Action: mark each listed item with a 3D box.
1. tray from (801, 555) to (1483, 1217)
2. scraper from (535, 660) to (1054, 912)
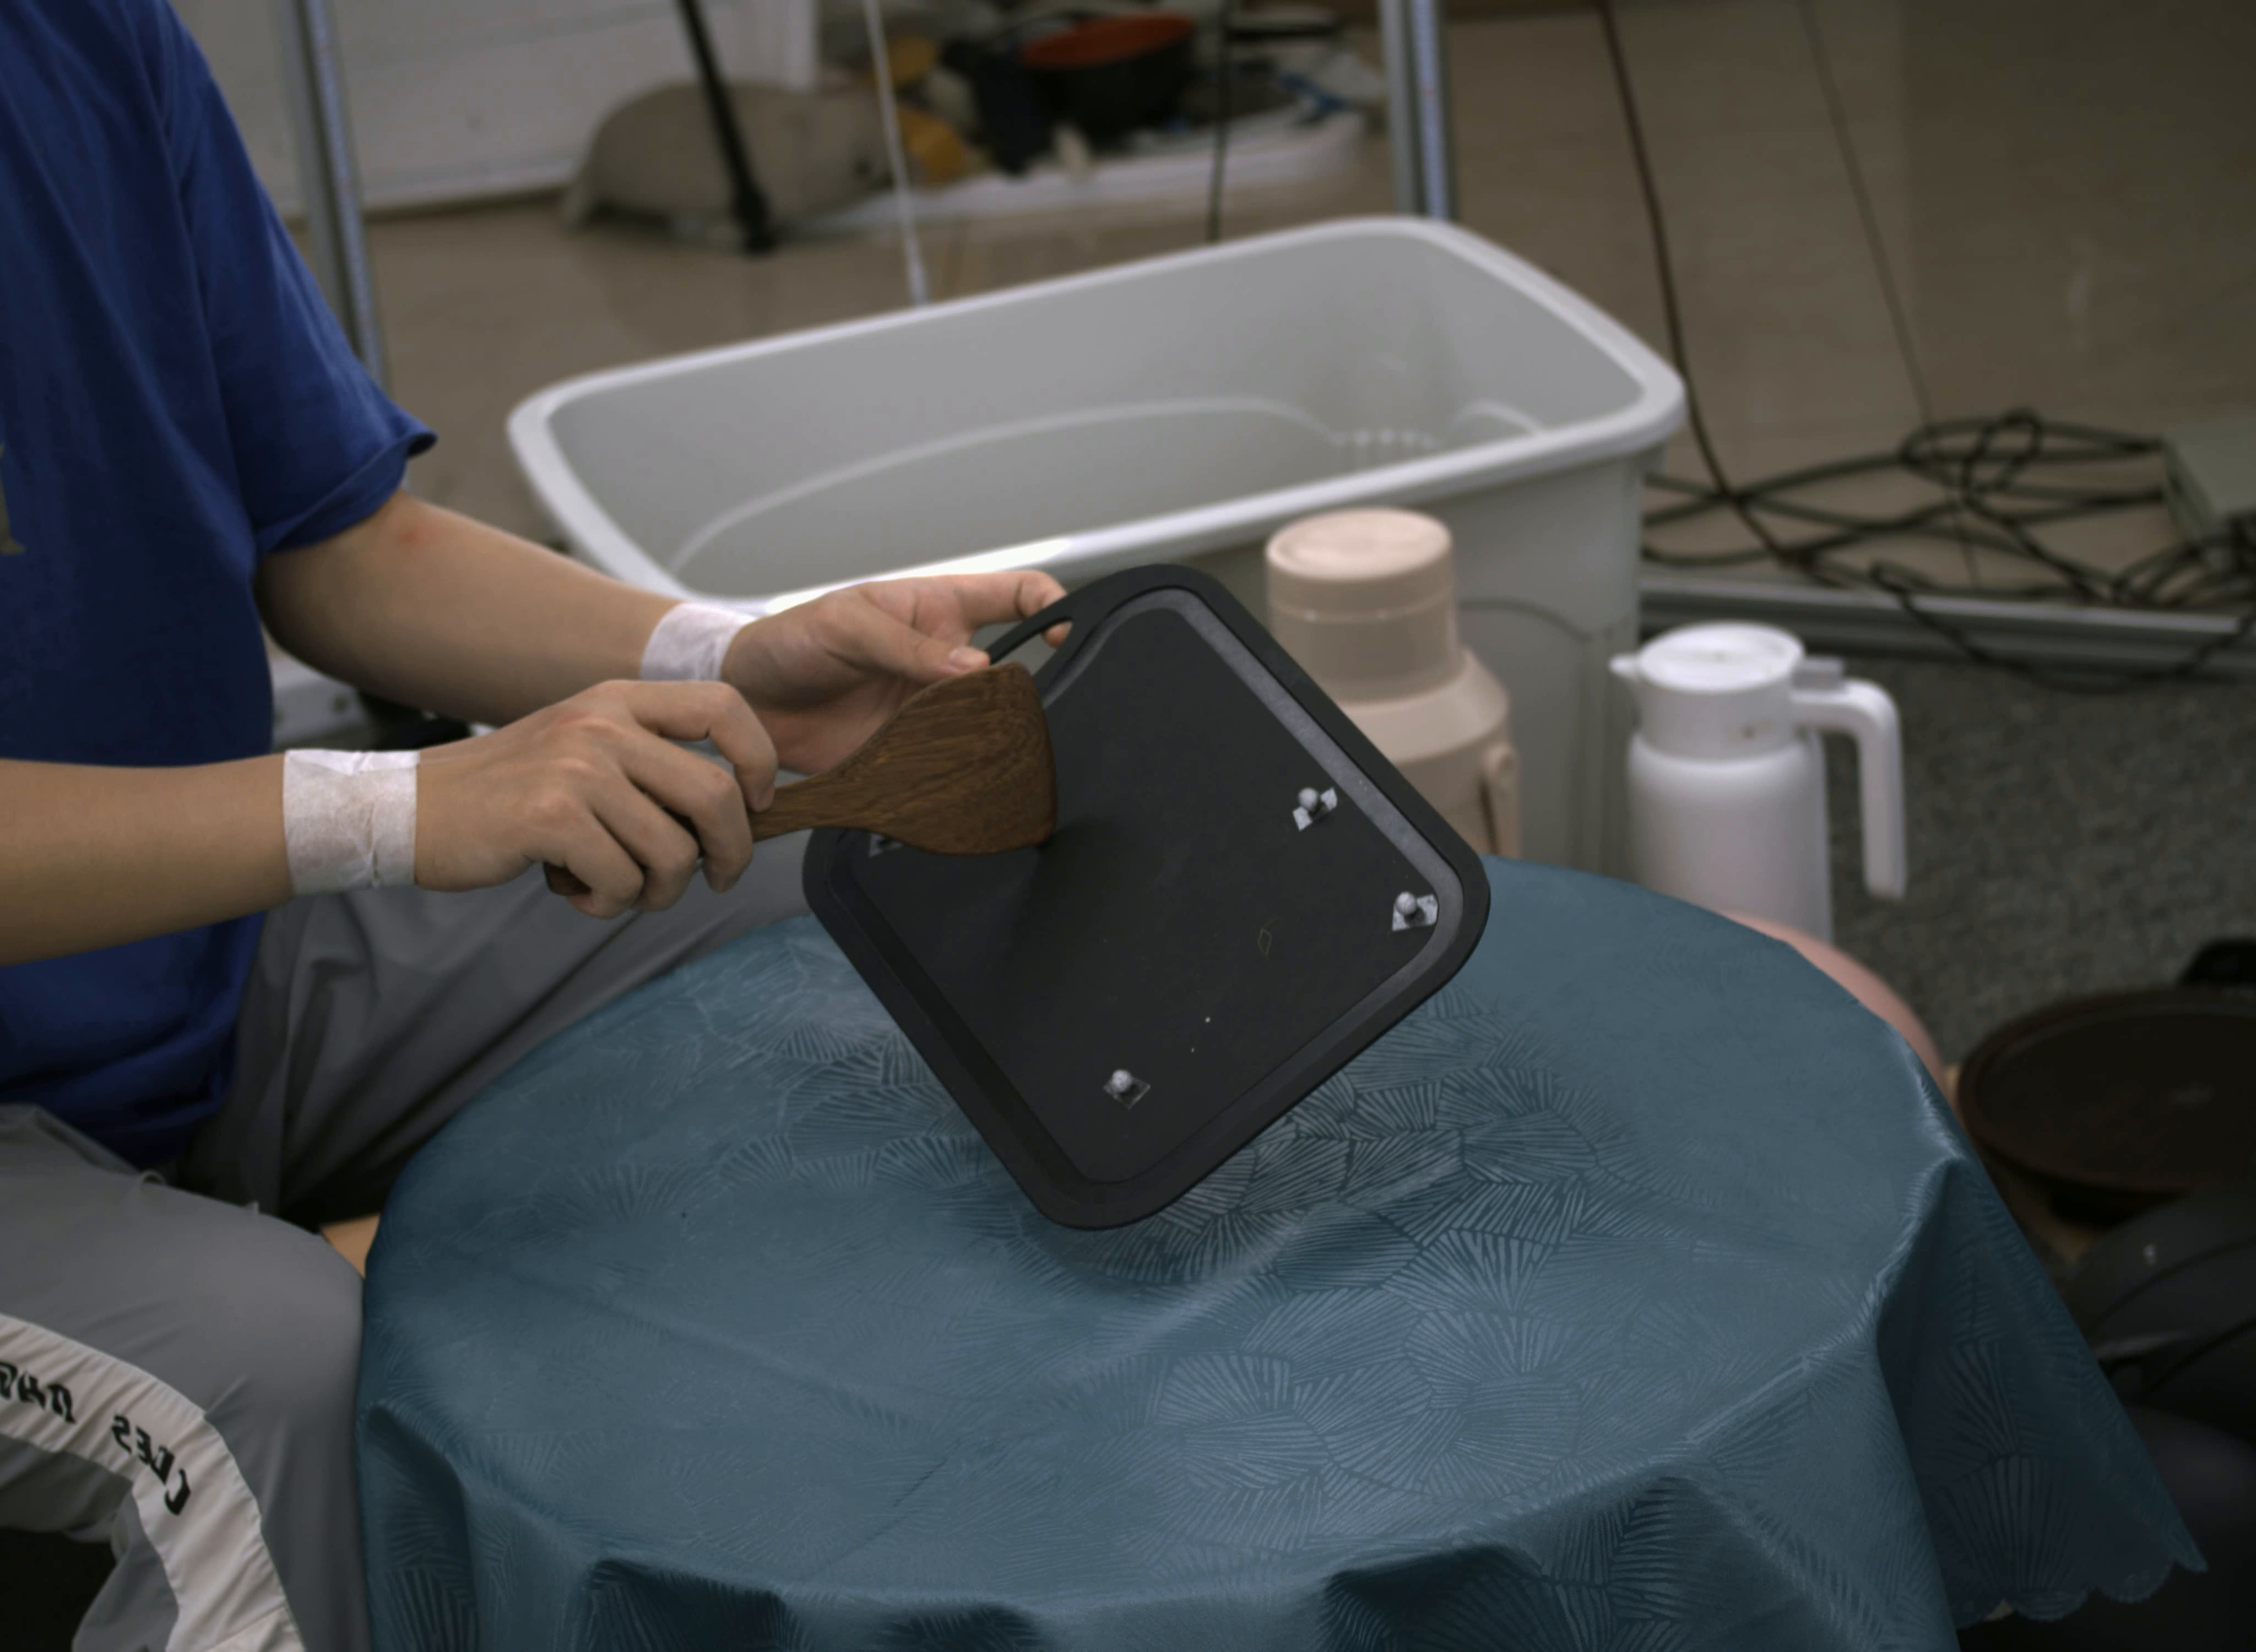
[{"bbox_3d":[-0.005,0.013,2.186,0.211,0.010,0.320,-39,42,0],"label":"tray"},{"bbox_3d":[-0.126,-0.005,2.170,0.210,0.076,0.011,-15,12,-18],"label":"scraper"}]
